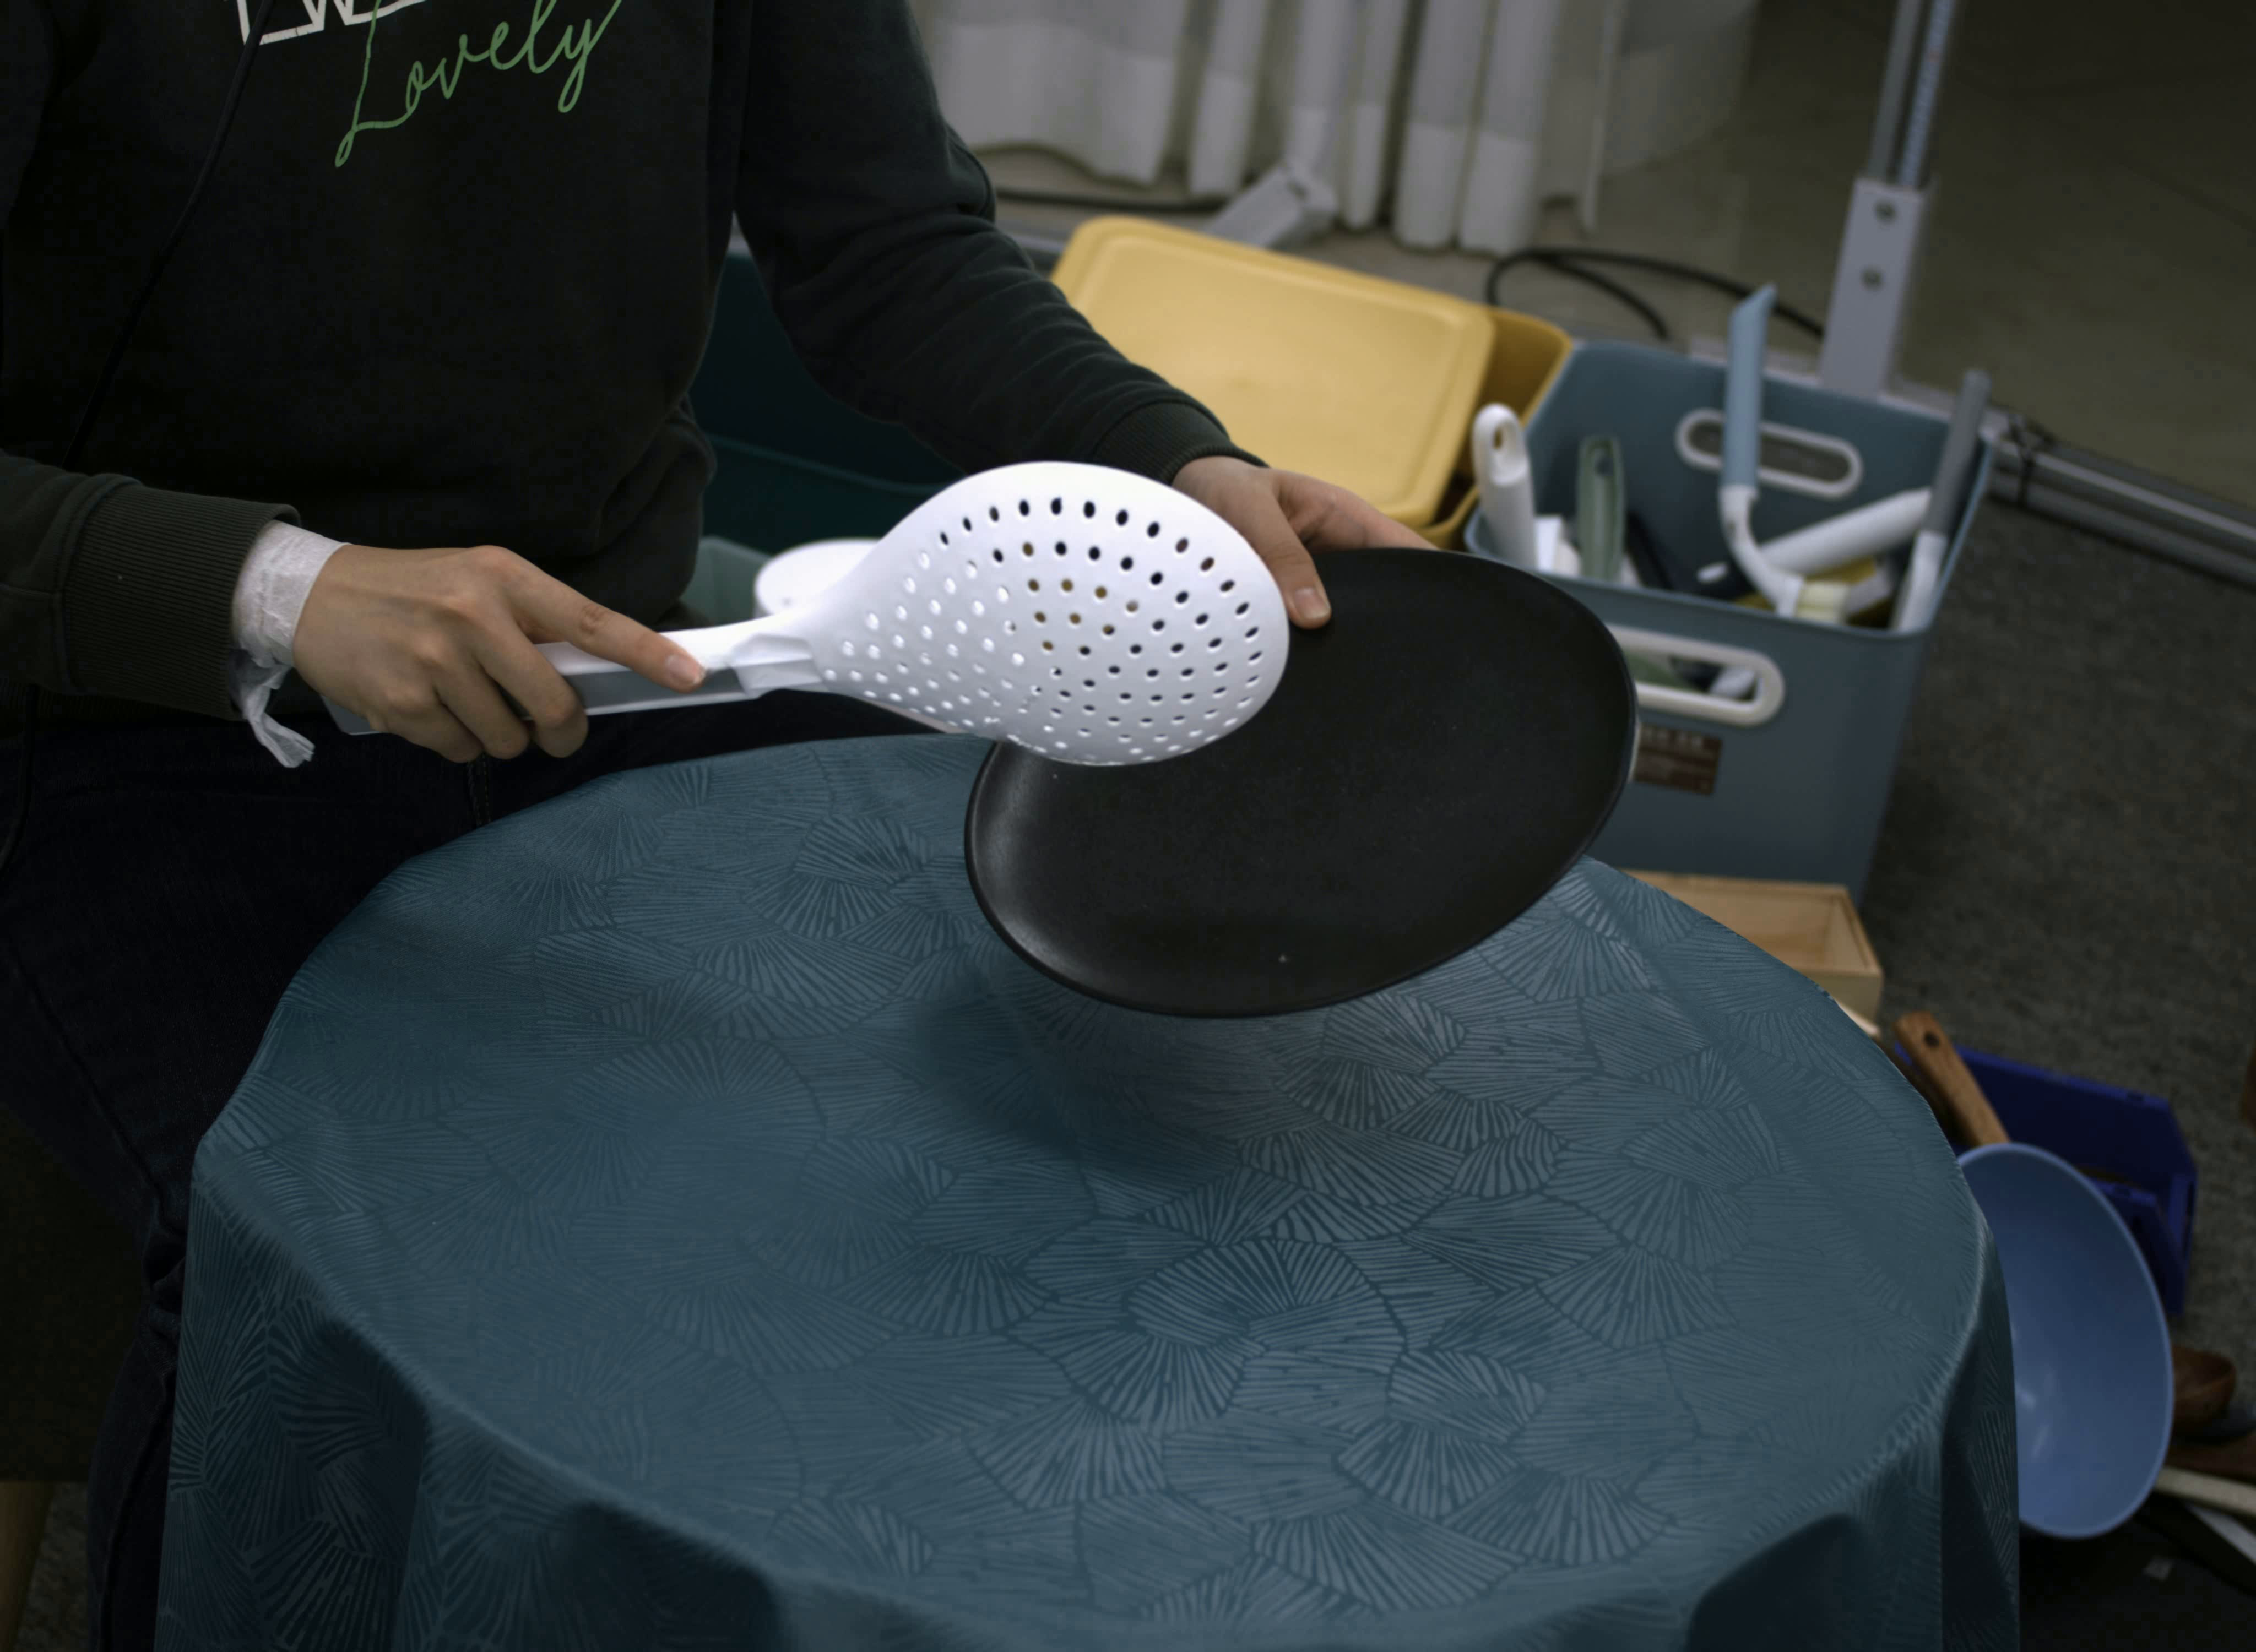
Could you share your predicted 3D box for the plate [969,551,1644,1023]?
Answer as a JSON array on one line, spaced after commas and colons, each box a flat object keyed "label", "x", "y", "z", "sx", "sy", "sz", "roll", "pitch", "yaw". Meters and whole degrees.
[{"label": "plate", "x": 0.063, "y": -0.011, "z": 1.863, "sx": 0.244, "sy": 0.023, "sz": 0.246, "roll": -12, "pitch": 39, "yaw": 9}]

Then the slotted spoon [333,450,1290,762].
[{"label": "slotted spoon", "x": -0.114, "y": -0.058, "z": 1.807, "sx": 0.350, "sy": 0.135, "sz": 0.046, "roll": -2, "pitch": 43, "yaw": 25}]
